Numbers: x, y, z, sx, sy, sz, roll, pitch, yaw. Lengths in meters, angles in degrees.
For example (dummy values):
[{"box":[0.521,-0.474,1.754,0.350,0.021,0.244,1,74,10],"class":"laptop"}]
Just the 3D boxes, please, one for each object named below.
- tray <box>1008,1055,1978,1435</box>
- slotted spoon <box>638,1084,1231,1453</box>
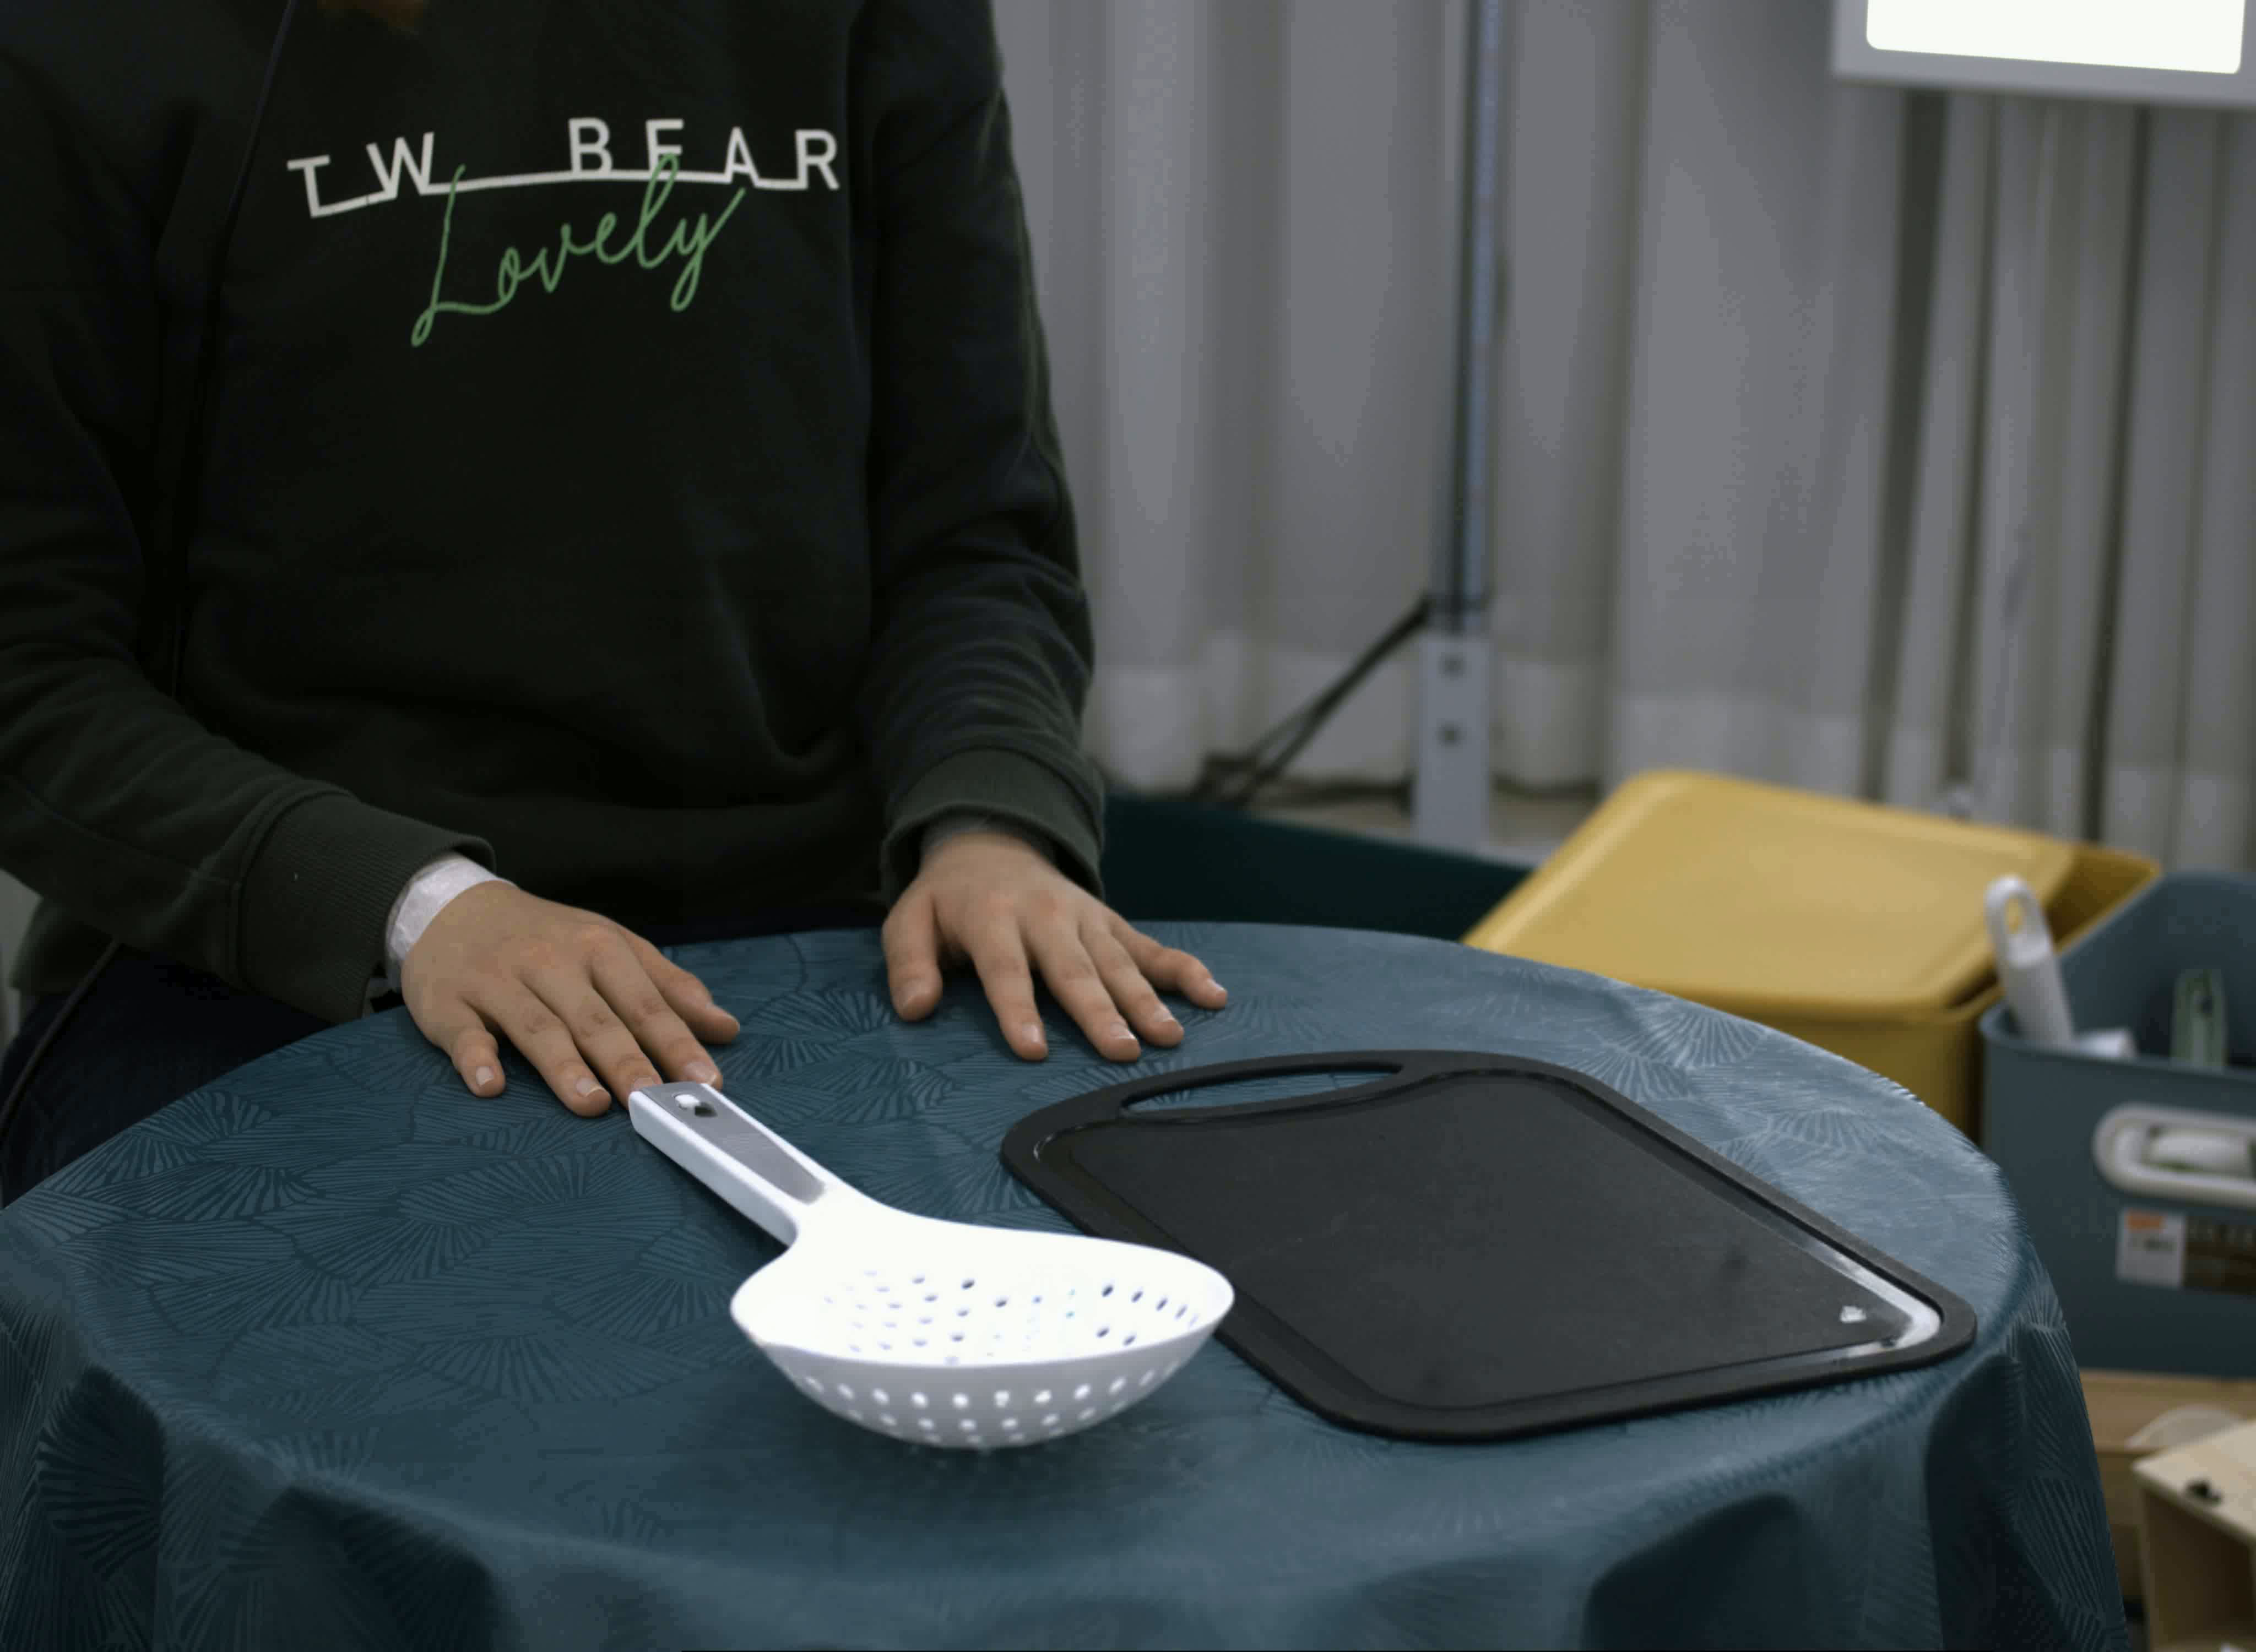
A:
[{"box":[0.099,0.119,1.596,0.212,0.010,0.321,-6,17,-23],"class":"tray"},{"box":[-0.081,0.118,1.520,0.136,0.046,0.346,-4,15,-22],"class":"slotted spoon"}]
